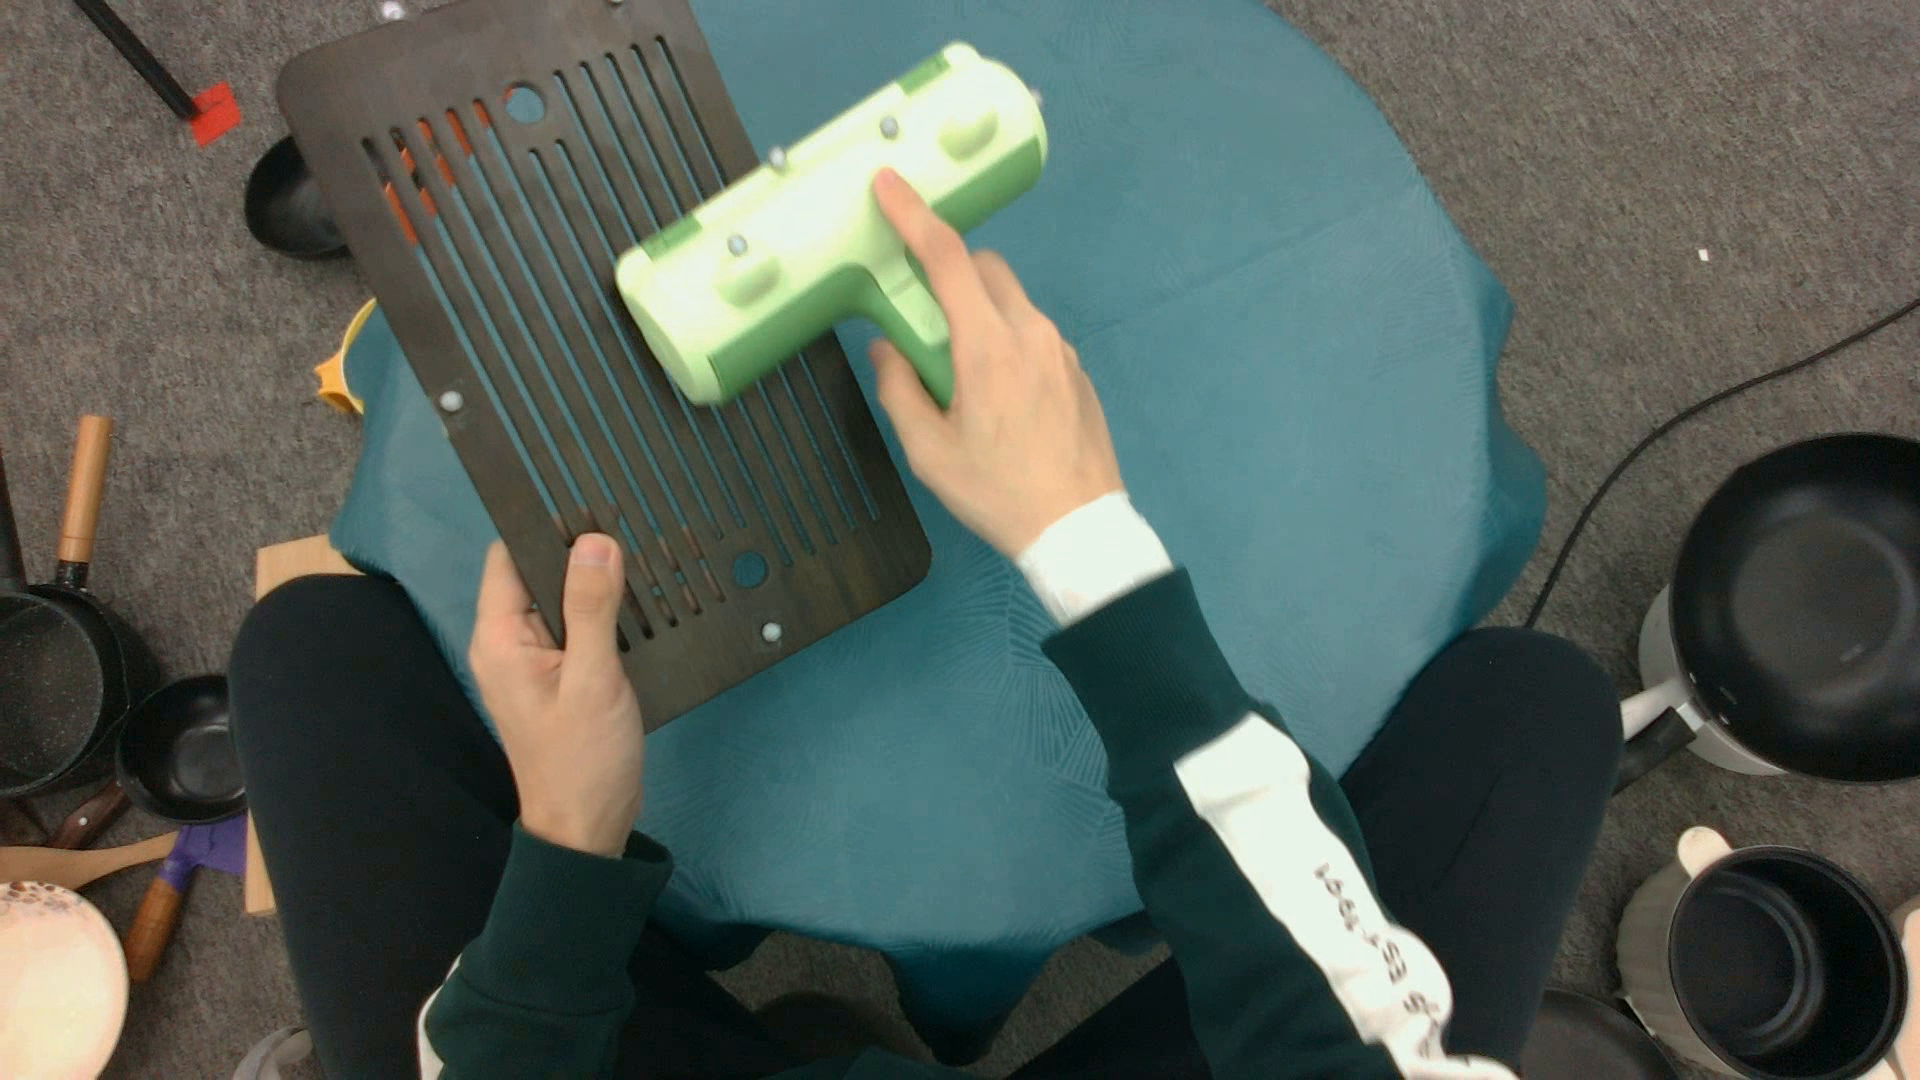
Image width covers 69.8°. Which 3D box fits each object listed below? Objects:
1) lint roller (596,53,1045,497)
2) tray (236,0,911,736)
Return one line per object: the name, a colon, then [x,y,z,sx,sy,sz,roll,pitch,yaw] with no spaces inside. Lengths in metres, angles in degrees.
lint roller: [-0.022,-0.099,0.581,0.199,0.082,0.183,-38,80,-19]
tray: [-0.153,-0.083,0.595,0.170,0.018,0.305,-30,103,-21]
